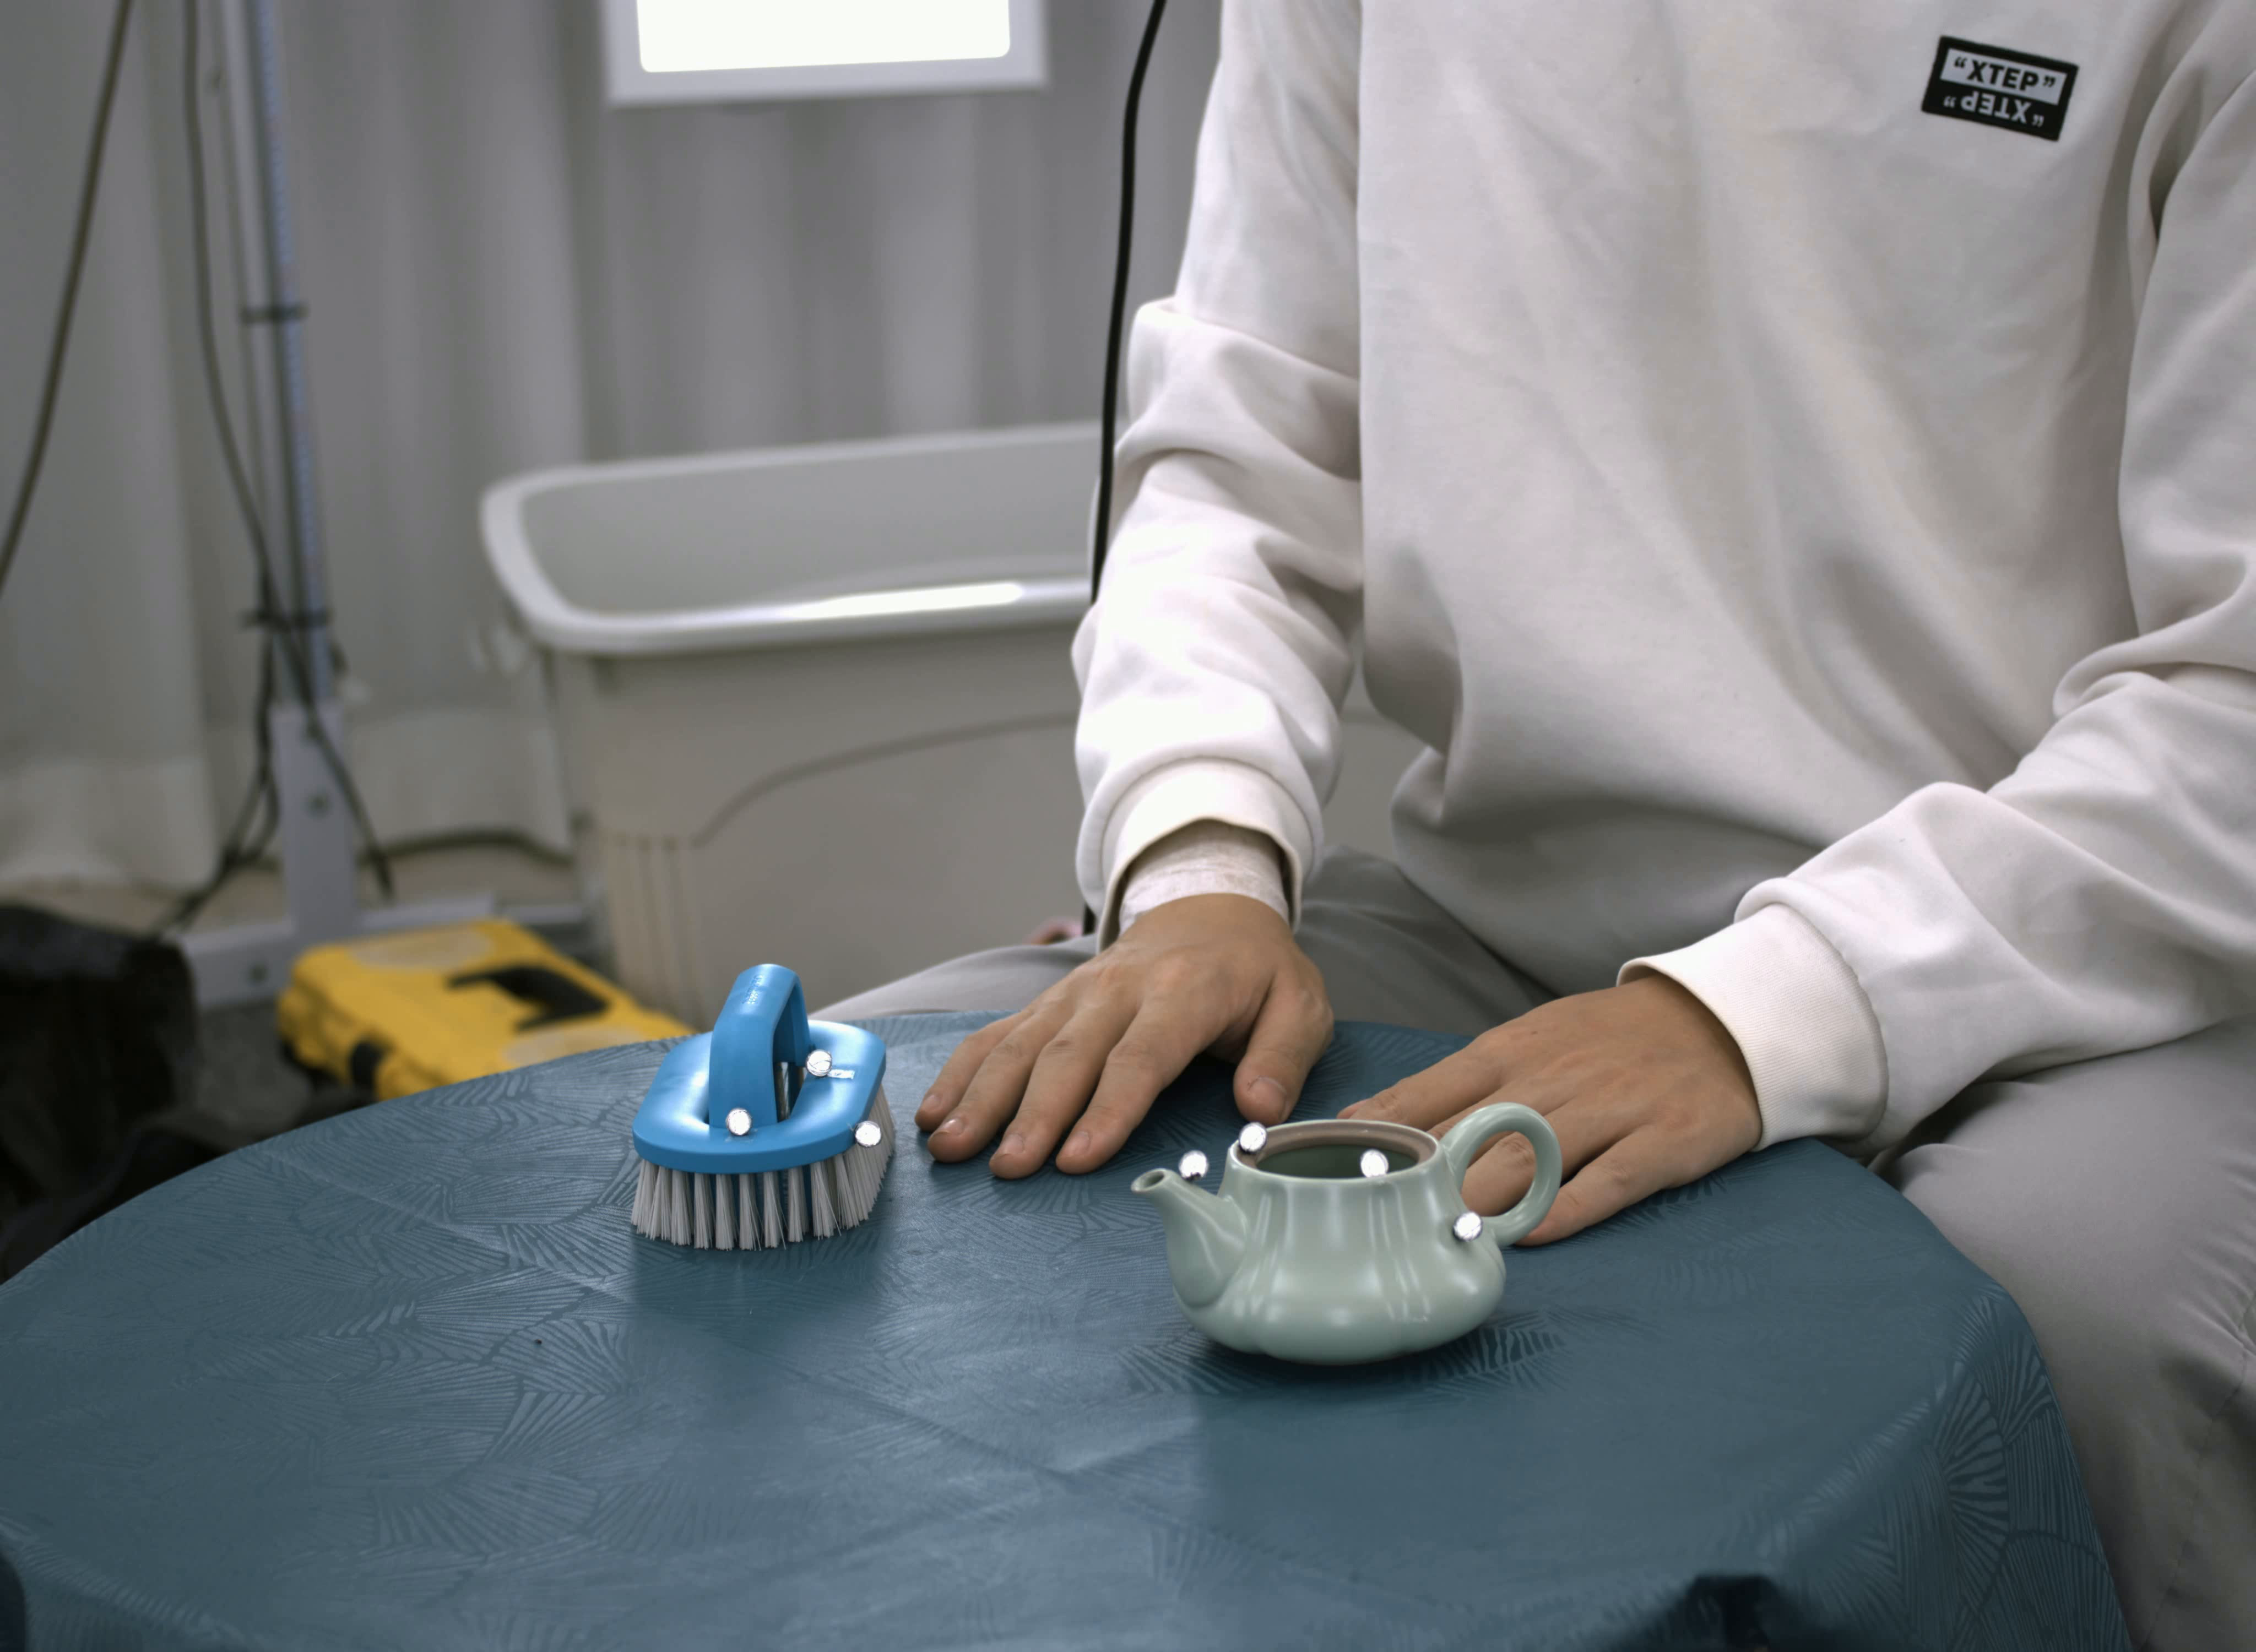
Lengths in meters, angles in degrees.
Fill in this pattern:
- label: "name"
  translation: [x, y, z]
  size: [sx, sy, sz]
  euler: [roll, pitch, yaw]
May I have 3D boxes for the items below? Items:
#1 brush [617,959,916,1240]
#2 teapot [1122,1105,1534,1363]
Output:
- label: "brush"
  translation: [-0.116, 0.081, 1.739]
  size: [0.084, 0.063, 0.142]
  euler: [-6, 13, 7]
- label: "teapot"
  translation: [0.059, 0.118, 1.578]
  size: [0.136, 0.061, 0.097]
  euler: [-8, 11, -27]
